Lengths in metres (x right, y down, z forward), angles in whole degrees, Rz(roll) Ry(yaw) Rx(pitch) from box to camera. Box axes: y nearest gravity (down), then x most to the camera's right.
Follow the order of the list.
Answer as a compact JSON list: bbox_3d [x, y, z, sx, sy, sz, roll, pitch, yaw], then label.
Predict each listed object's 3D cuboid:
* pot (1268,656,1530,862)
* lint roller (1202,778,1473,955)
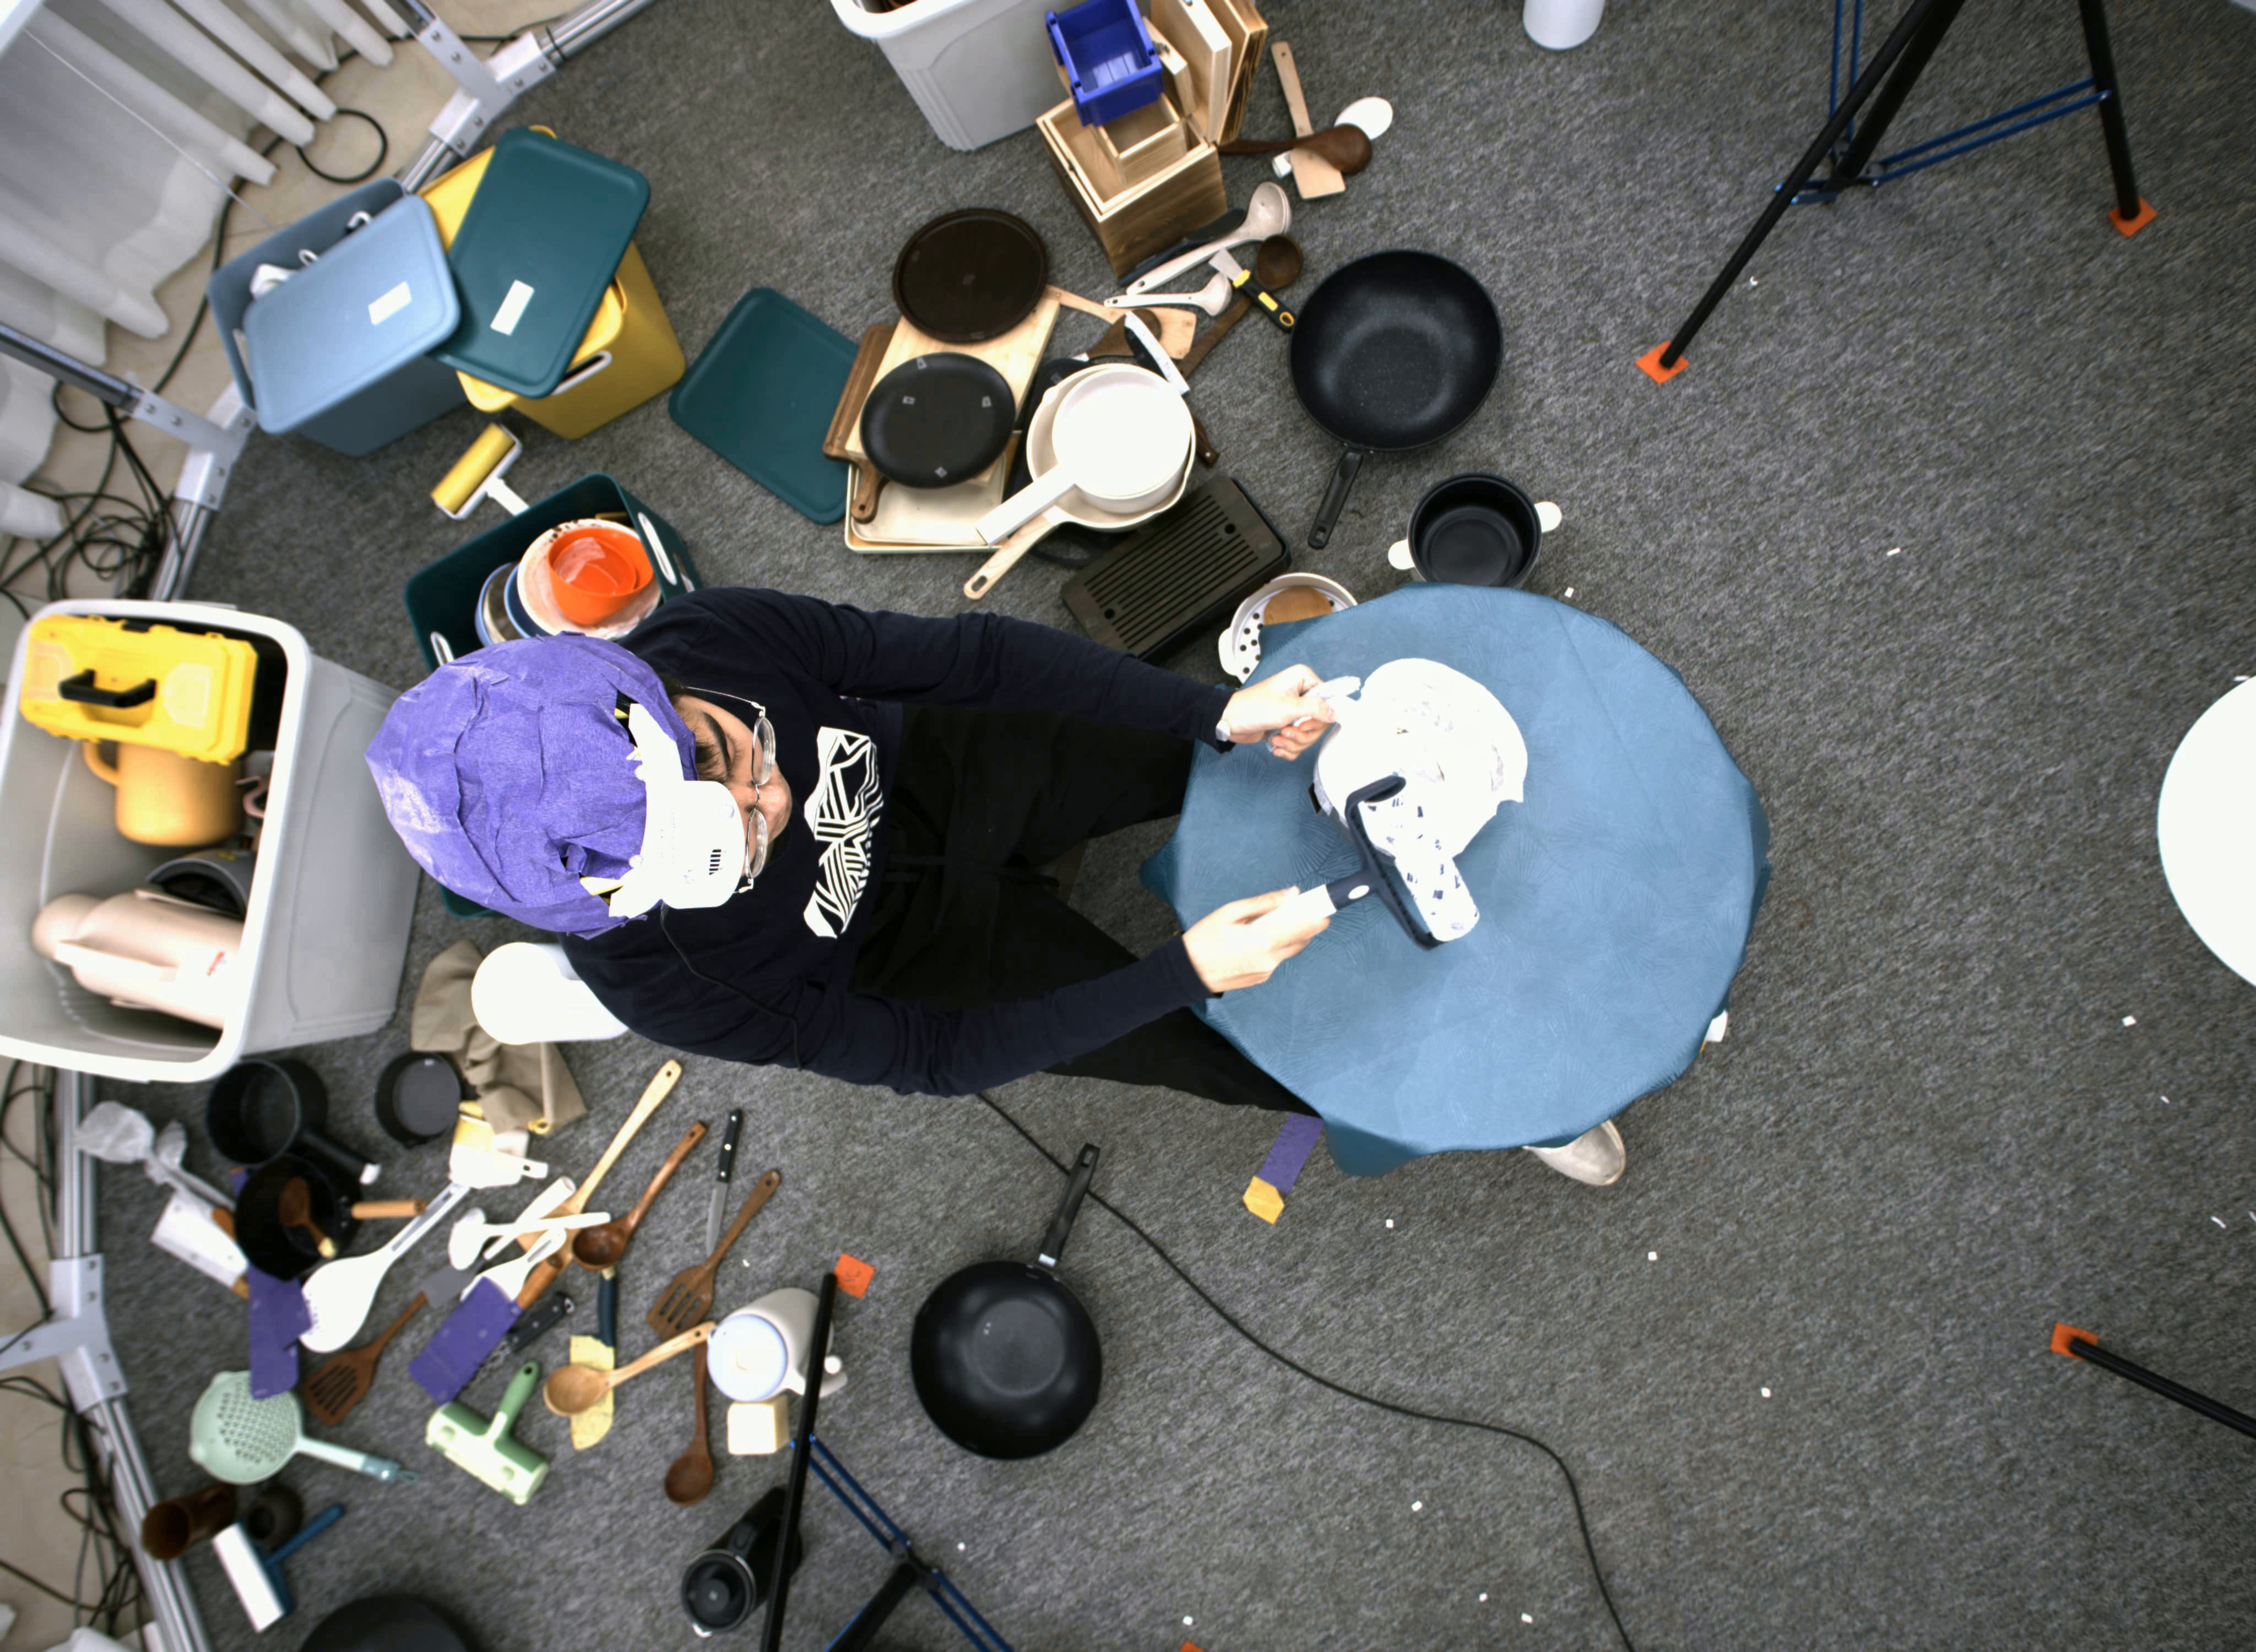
[{"bbox_3d":[0.260,-0.073,1.352,0.234,0.140,0.174,26,47,-8],"label":"pot"},{"bbox_3d":[0.181,0.074,1.305,0.250,0.049,0.178,-26,115,19],"label":"lint roller"}]
